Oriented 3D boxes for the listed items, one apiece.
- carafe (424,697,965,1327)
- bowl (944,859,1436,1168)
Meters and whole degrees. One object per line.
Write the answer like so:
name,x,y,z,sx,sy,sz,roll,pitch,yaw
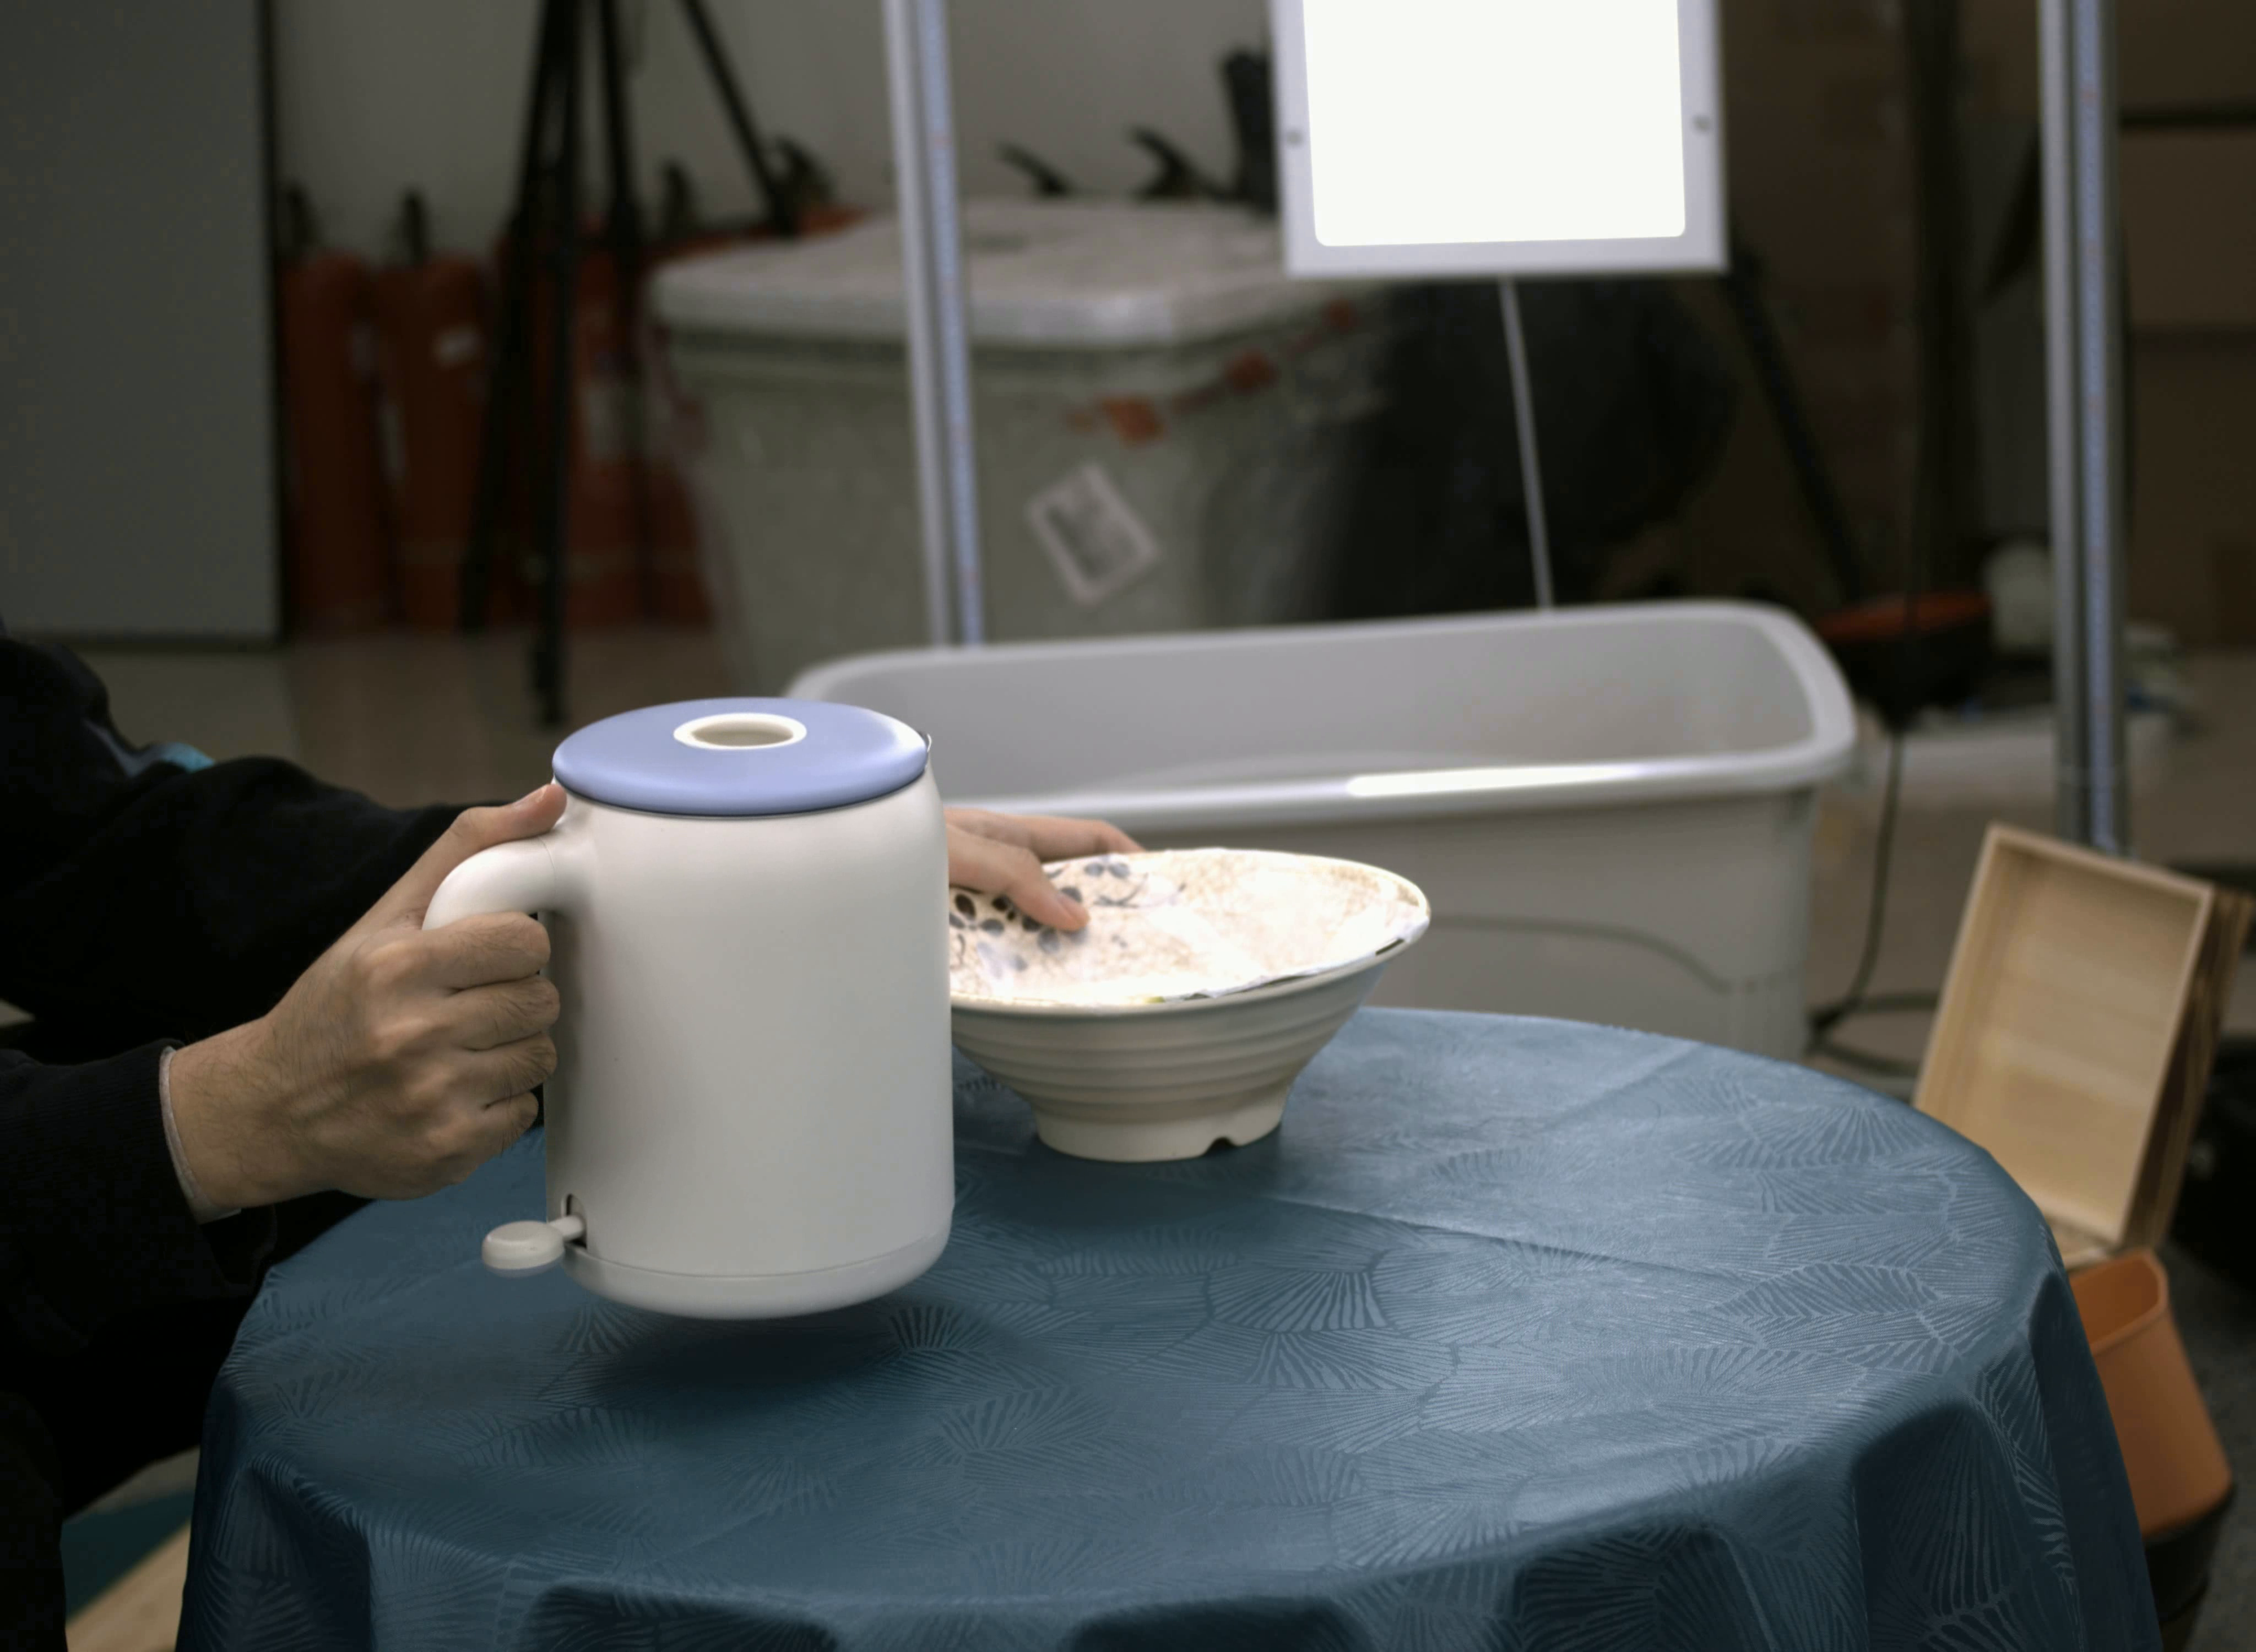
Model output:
carafe,-0.140,0.063,1.738,0.186,0.183,0.135,-15,19,-32
bowl,0.012,0.072,1.954,0.203,0.078,0.204,-7,12,0
